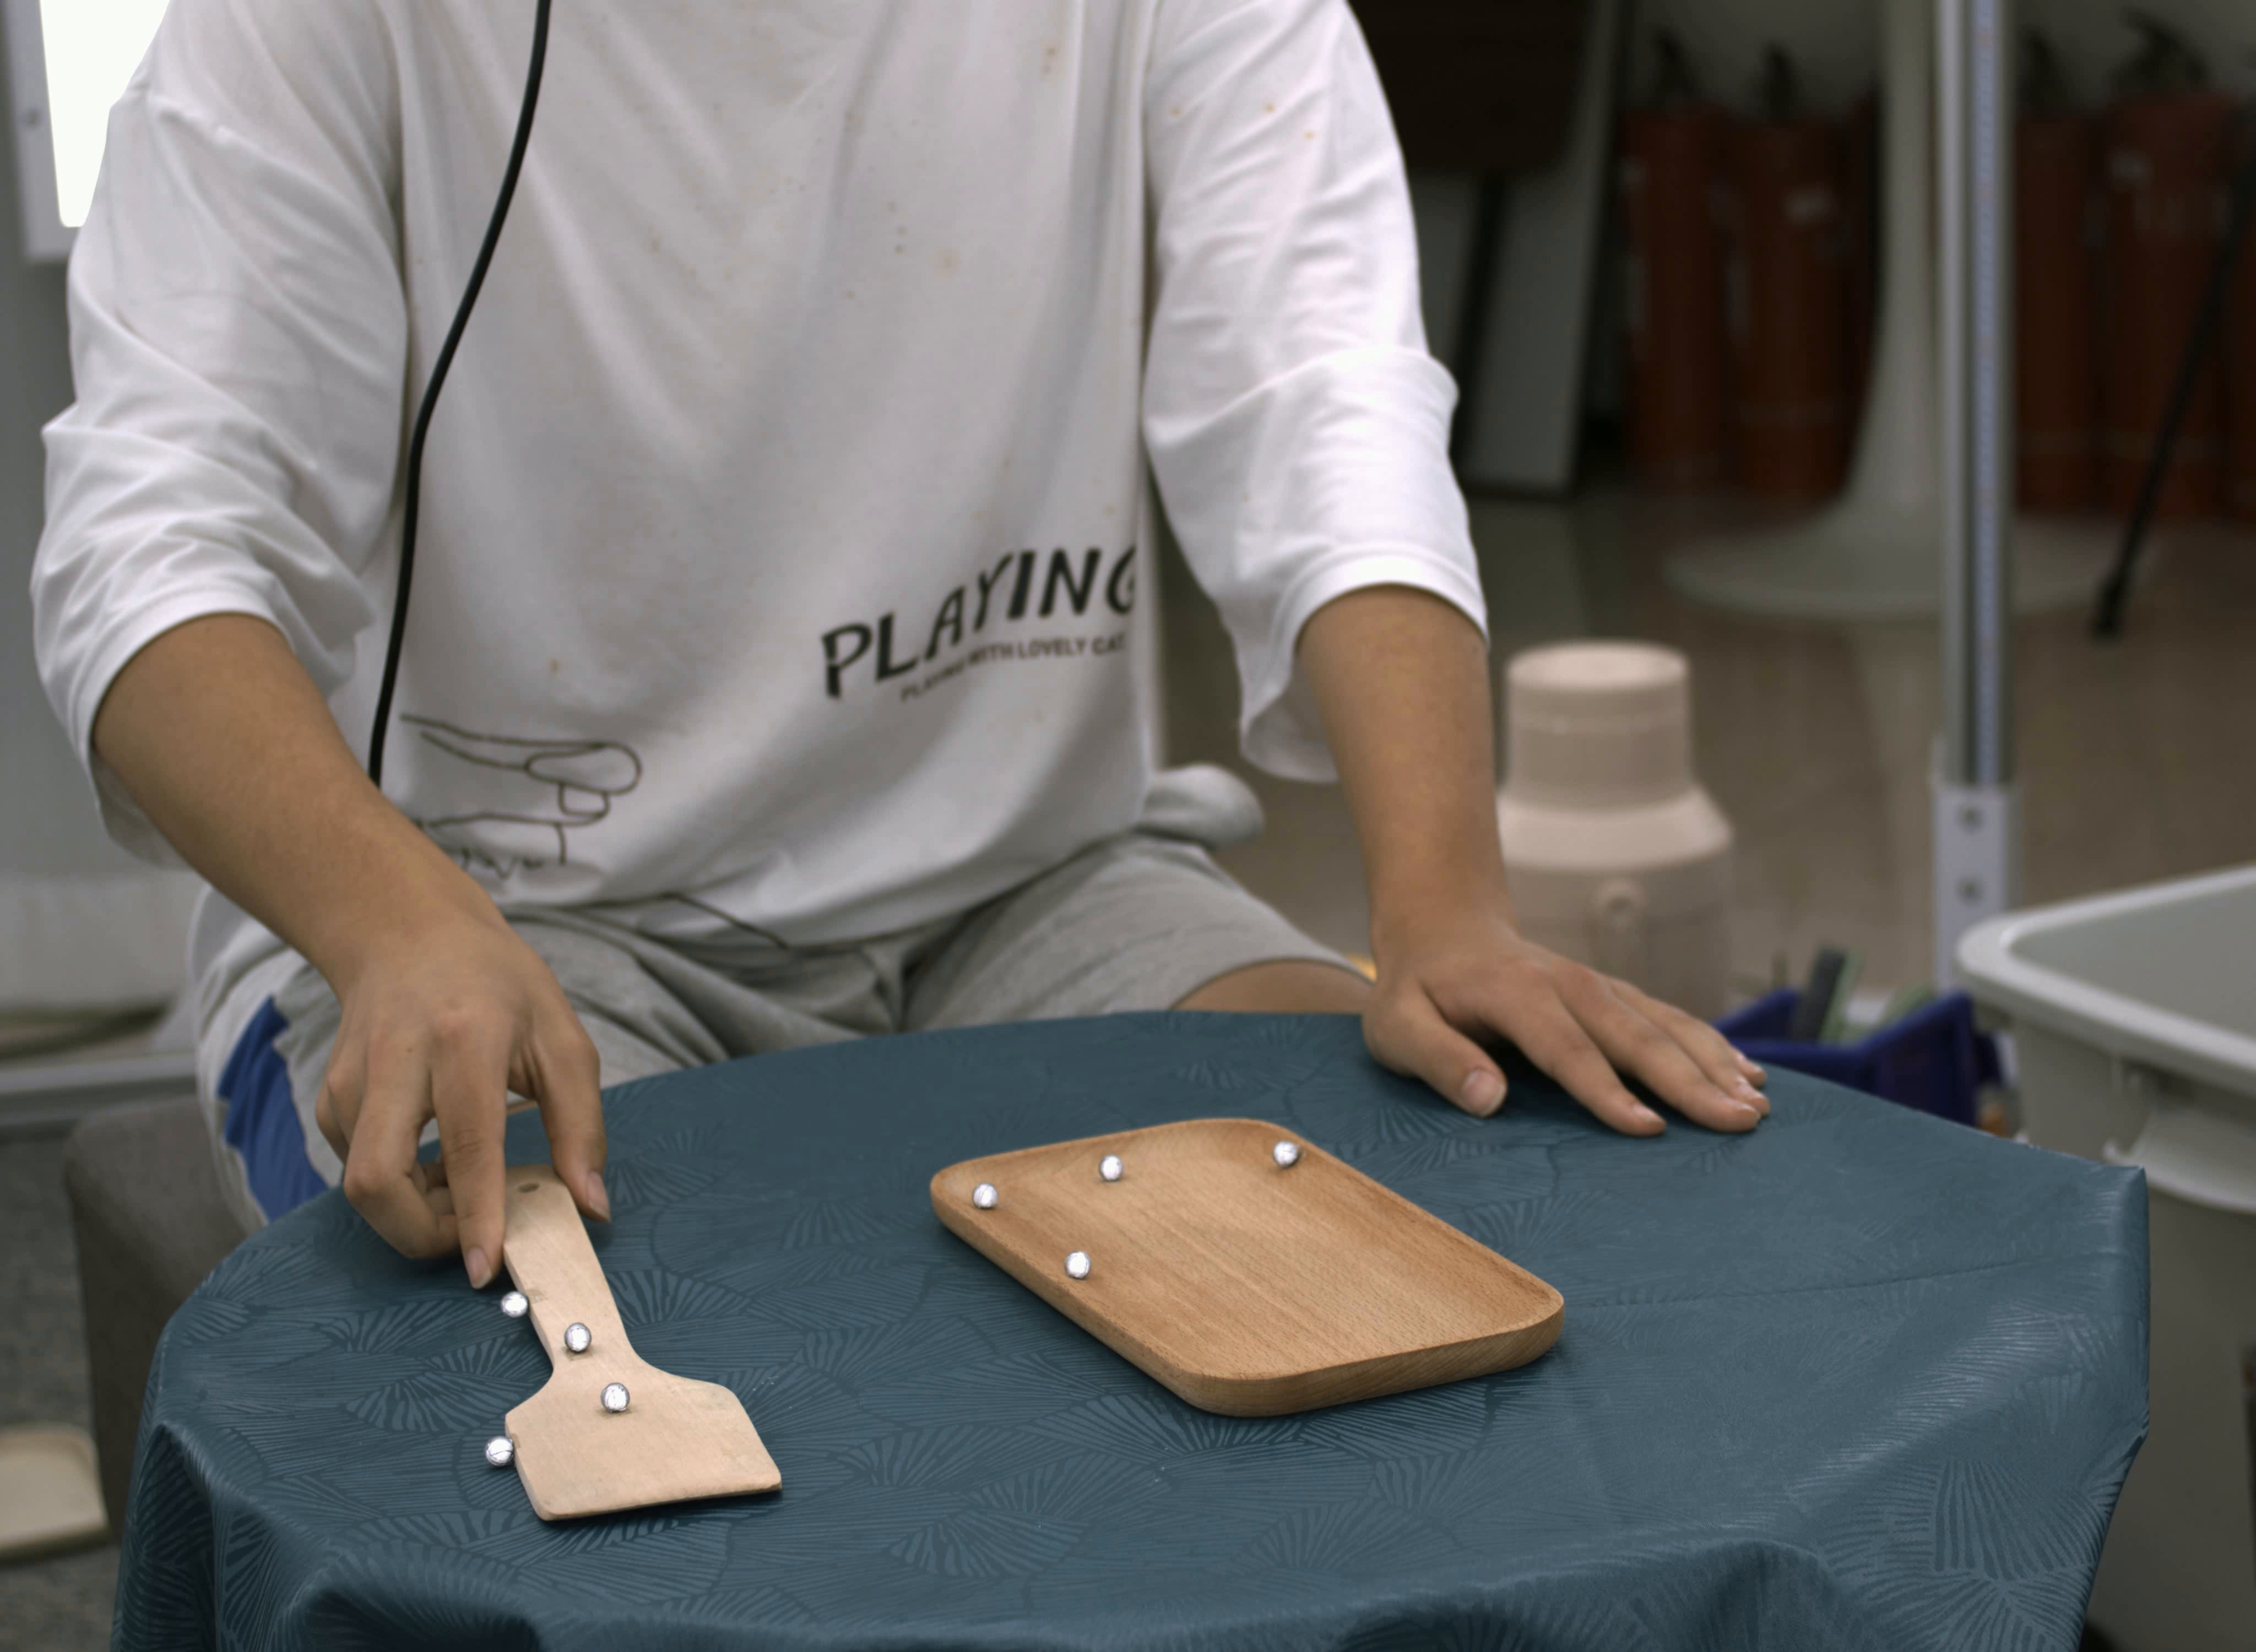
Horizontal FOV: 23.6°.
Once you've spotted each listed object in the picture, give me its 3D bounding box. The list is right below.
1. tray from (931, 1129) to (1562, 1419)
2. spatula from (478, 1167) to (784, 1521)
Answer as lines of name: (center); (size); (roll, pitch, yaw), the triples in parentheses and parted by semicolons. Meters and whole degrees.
tray: (0.033, 0.136, 1.671); (0.128, 0.023, 0.253); (-11, 15, -19)
spatula: (-0.166, 0.154, 1.647); (0.071, 0.011, 0.295); (-7, 17, -13)
